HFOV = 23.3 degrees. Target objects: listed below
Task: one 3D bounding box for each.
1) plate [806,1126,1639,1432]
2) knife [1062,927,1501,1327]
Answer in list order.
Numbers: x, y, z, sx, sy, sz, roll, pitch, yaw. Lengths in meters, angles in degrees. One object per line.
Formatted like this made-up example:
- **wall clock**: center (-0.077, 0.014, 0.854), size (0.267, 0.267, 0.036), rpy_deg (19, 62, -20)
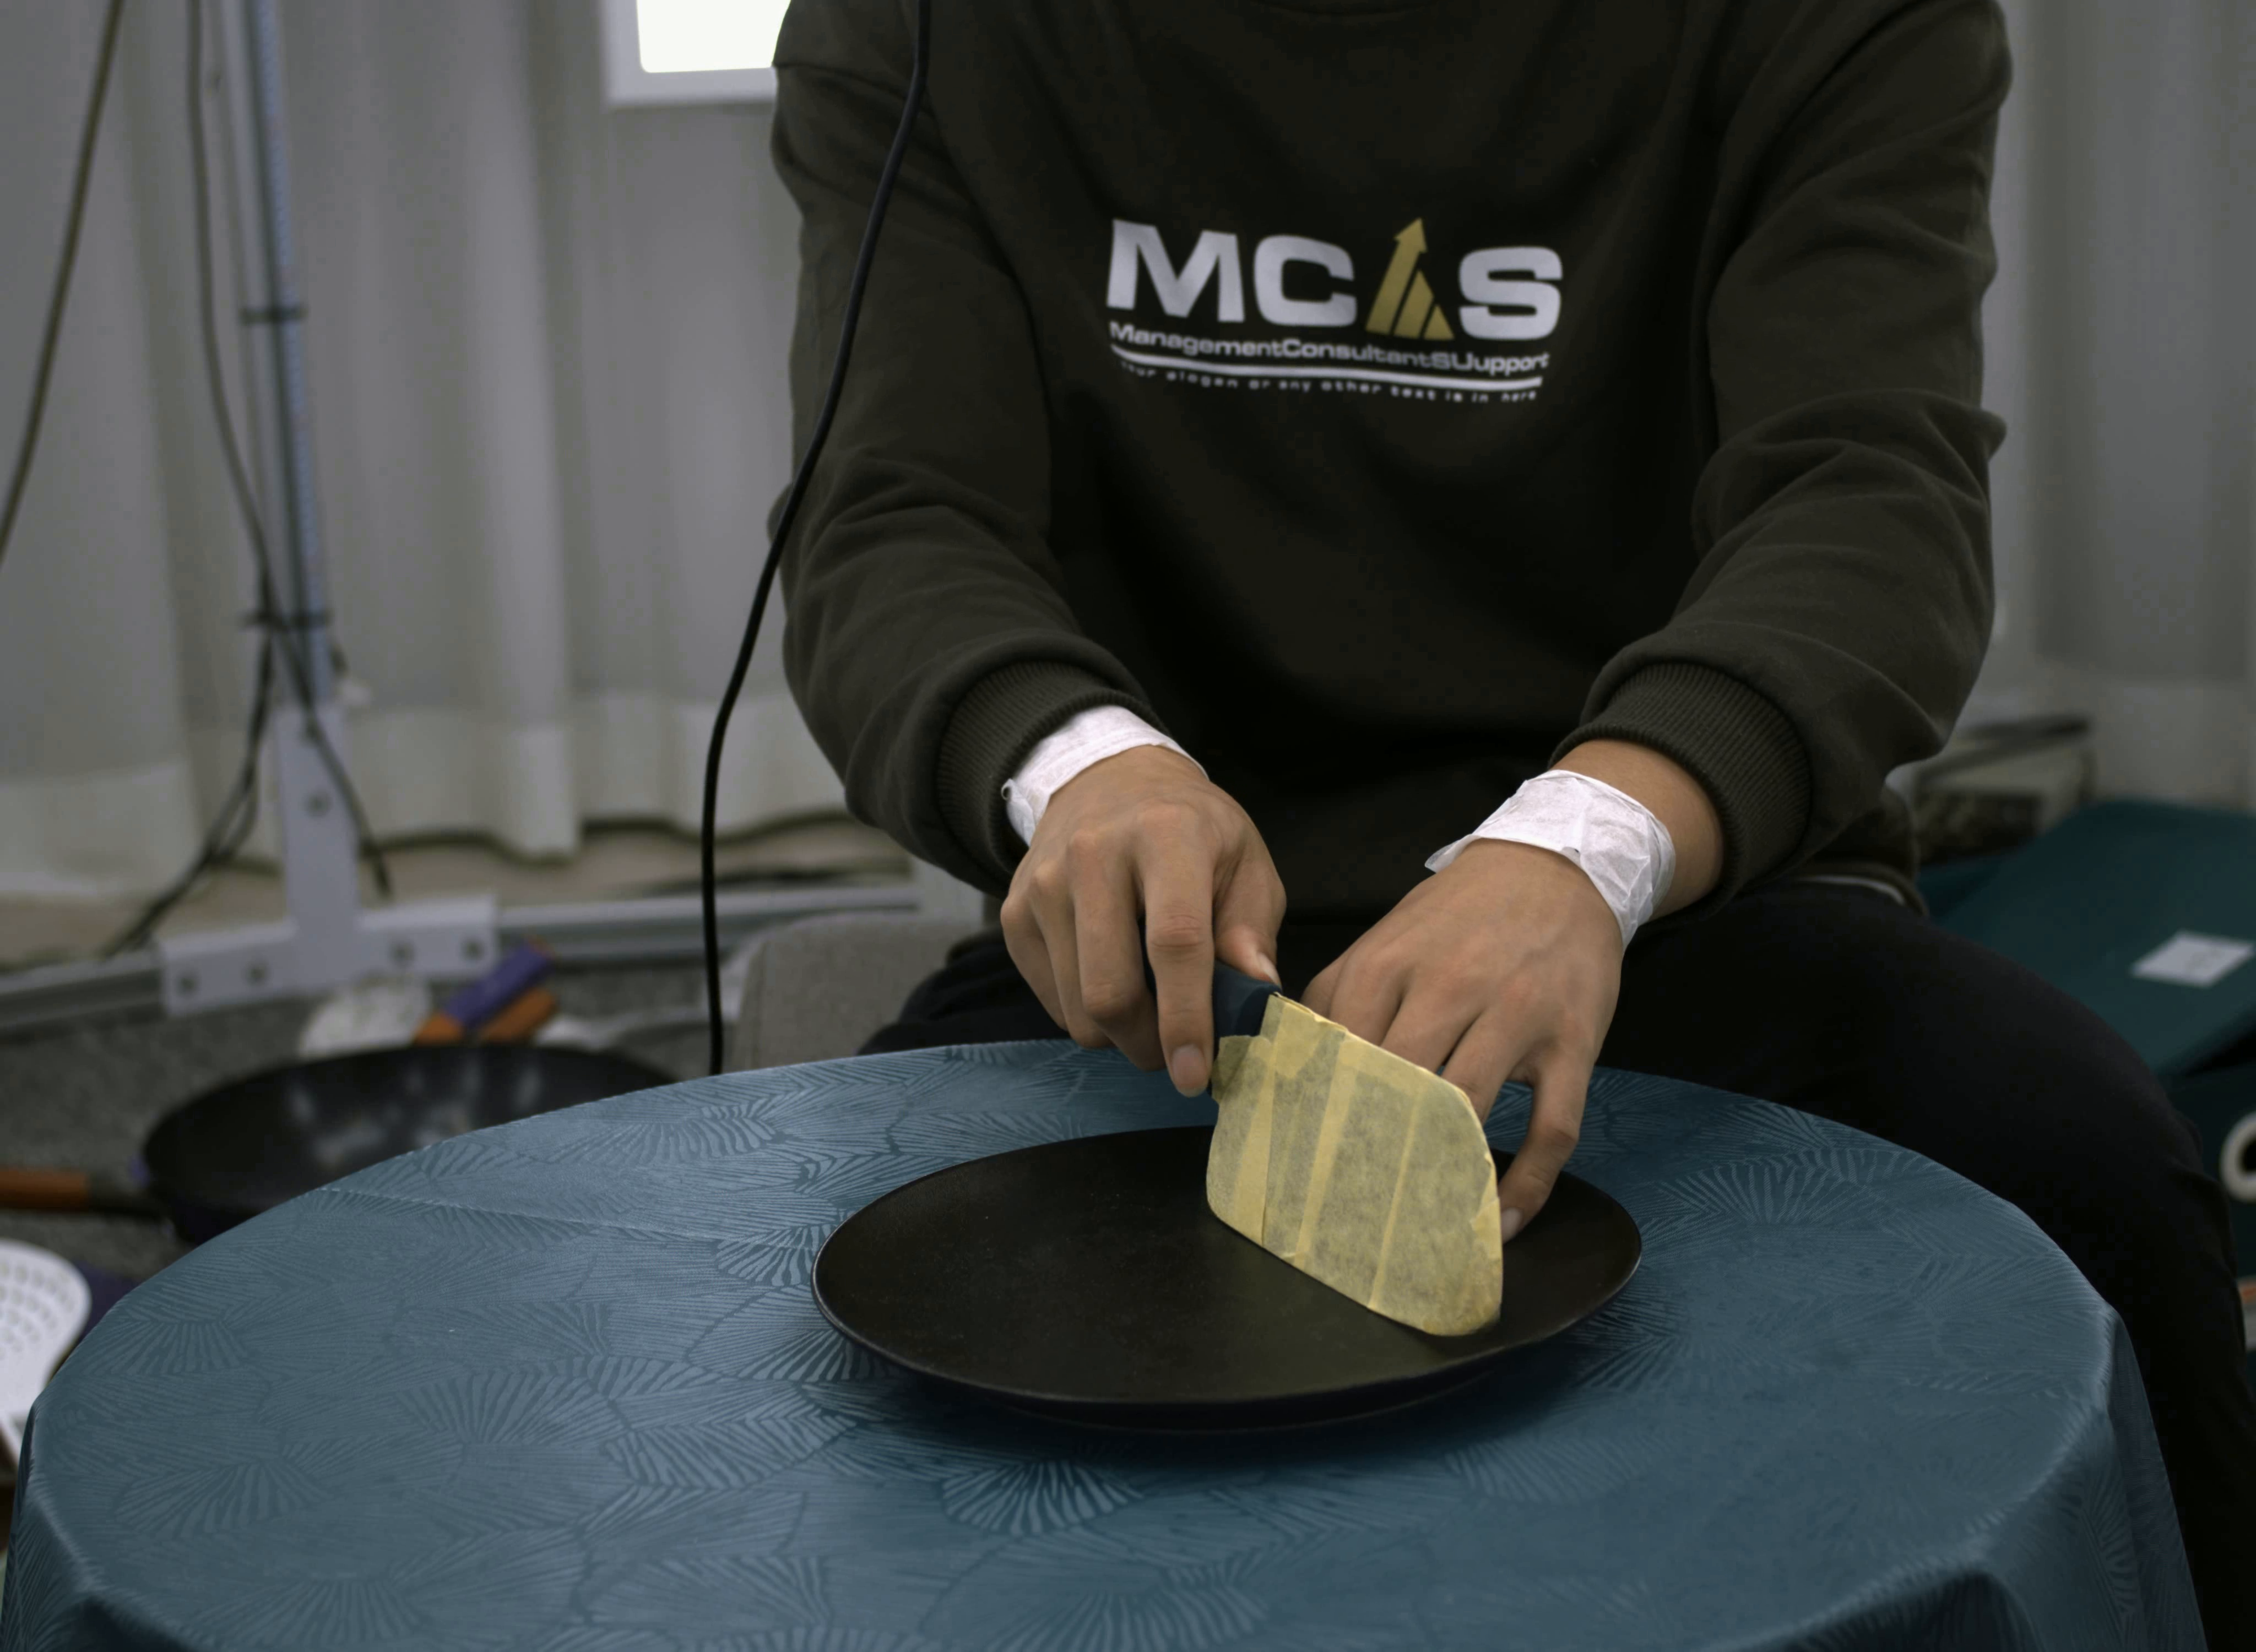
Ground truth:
- **plate**: center (0.028, 0.134, 1.594), size (0.243, 0.023, 0.246), rpy_deg (-3, 15, 0)
- **knife**: center (0.043, 0.086, 1.643), size (0.027, 0.081, 0.292), rpy_deg (13, 9, -27)
